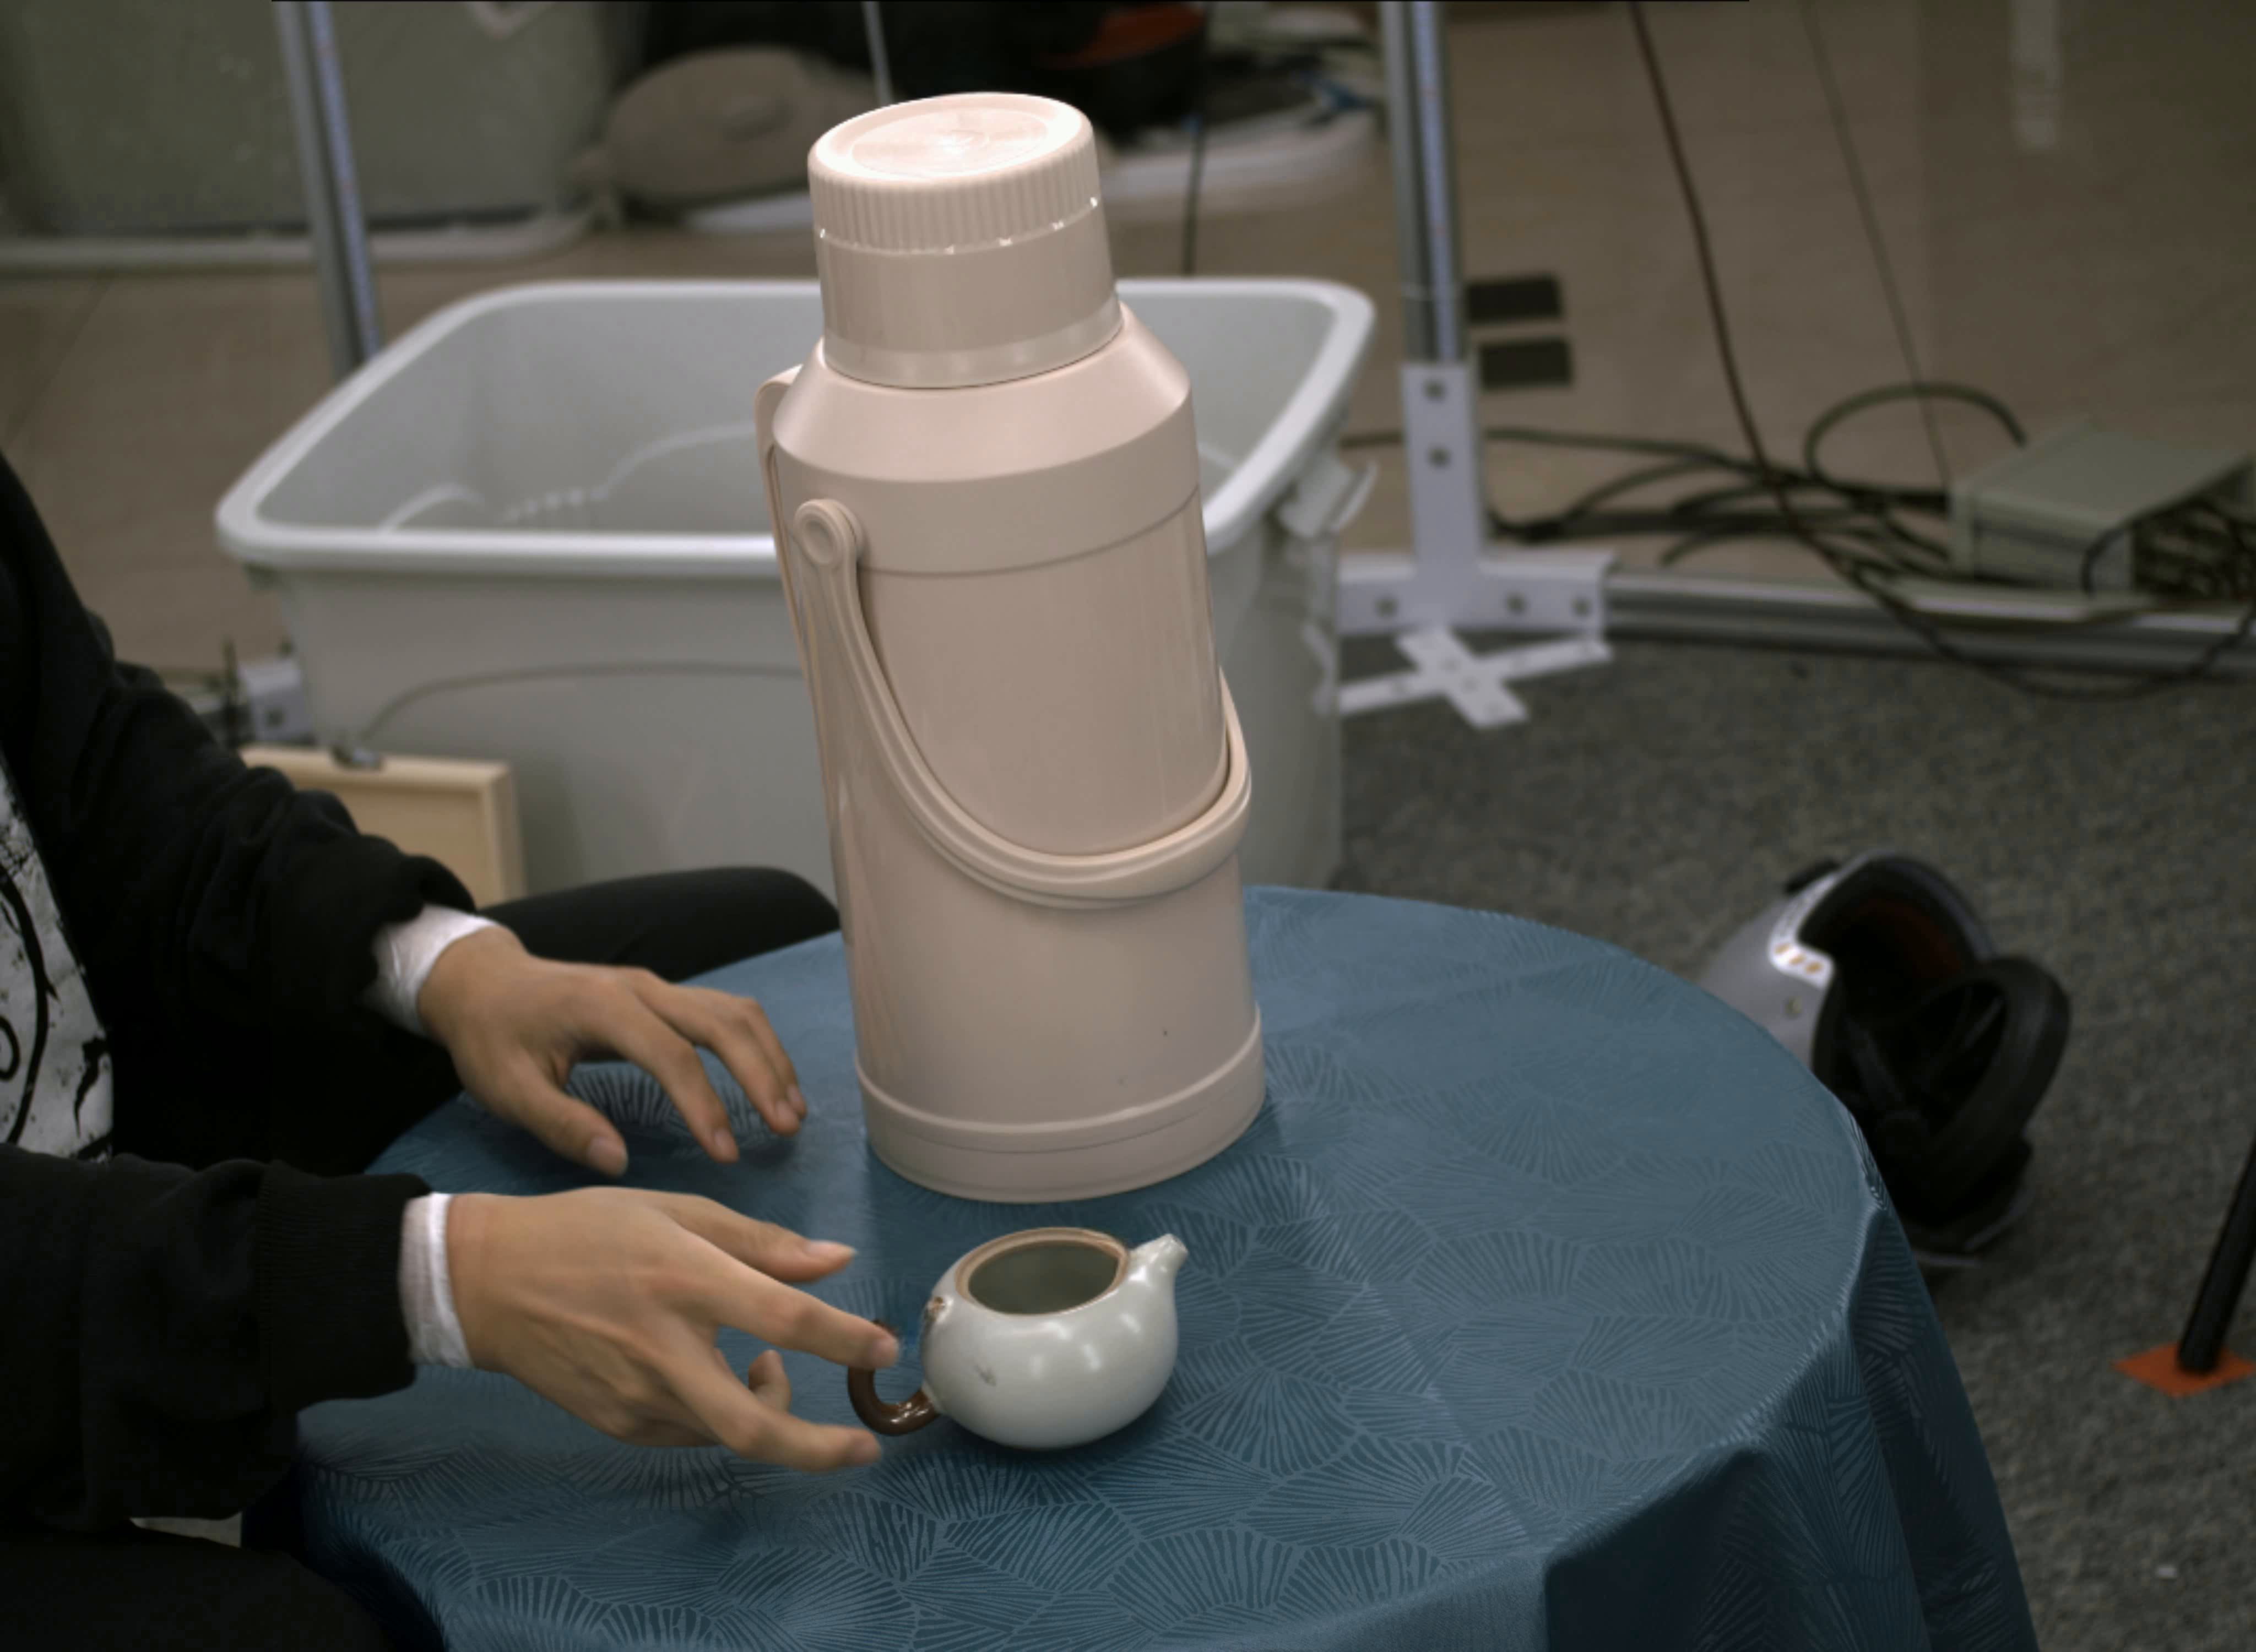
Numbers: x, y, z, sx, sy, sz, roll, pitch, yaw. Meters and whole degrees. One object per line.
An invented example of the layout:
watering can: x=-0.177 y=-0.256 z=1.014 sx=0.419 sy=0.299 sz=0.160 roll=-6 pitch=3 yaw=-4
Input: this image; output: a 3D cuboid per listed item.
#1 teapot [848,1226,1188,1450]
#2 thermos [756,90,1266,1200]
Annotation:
teapot: x=-0.037 y=0.183 z=1.996 sx=0.127 sy=0.060 sz=0.090 roll=-13 pitch=29 yaw=-17
thermos: x=-0.053 y=-0.073 z=2.141 sx=0.205 sy=0.413 sz=0.173 roll=18 pitch=37 yaw=40
